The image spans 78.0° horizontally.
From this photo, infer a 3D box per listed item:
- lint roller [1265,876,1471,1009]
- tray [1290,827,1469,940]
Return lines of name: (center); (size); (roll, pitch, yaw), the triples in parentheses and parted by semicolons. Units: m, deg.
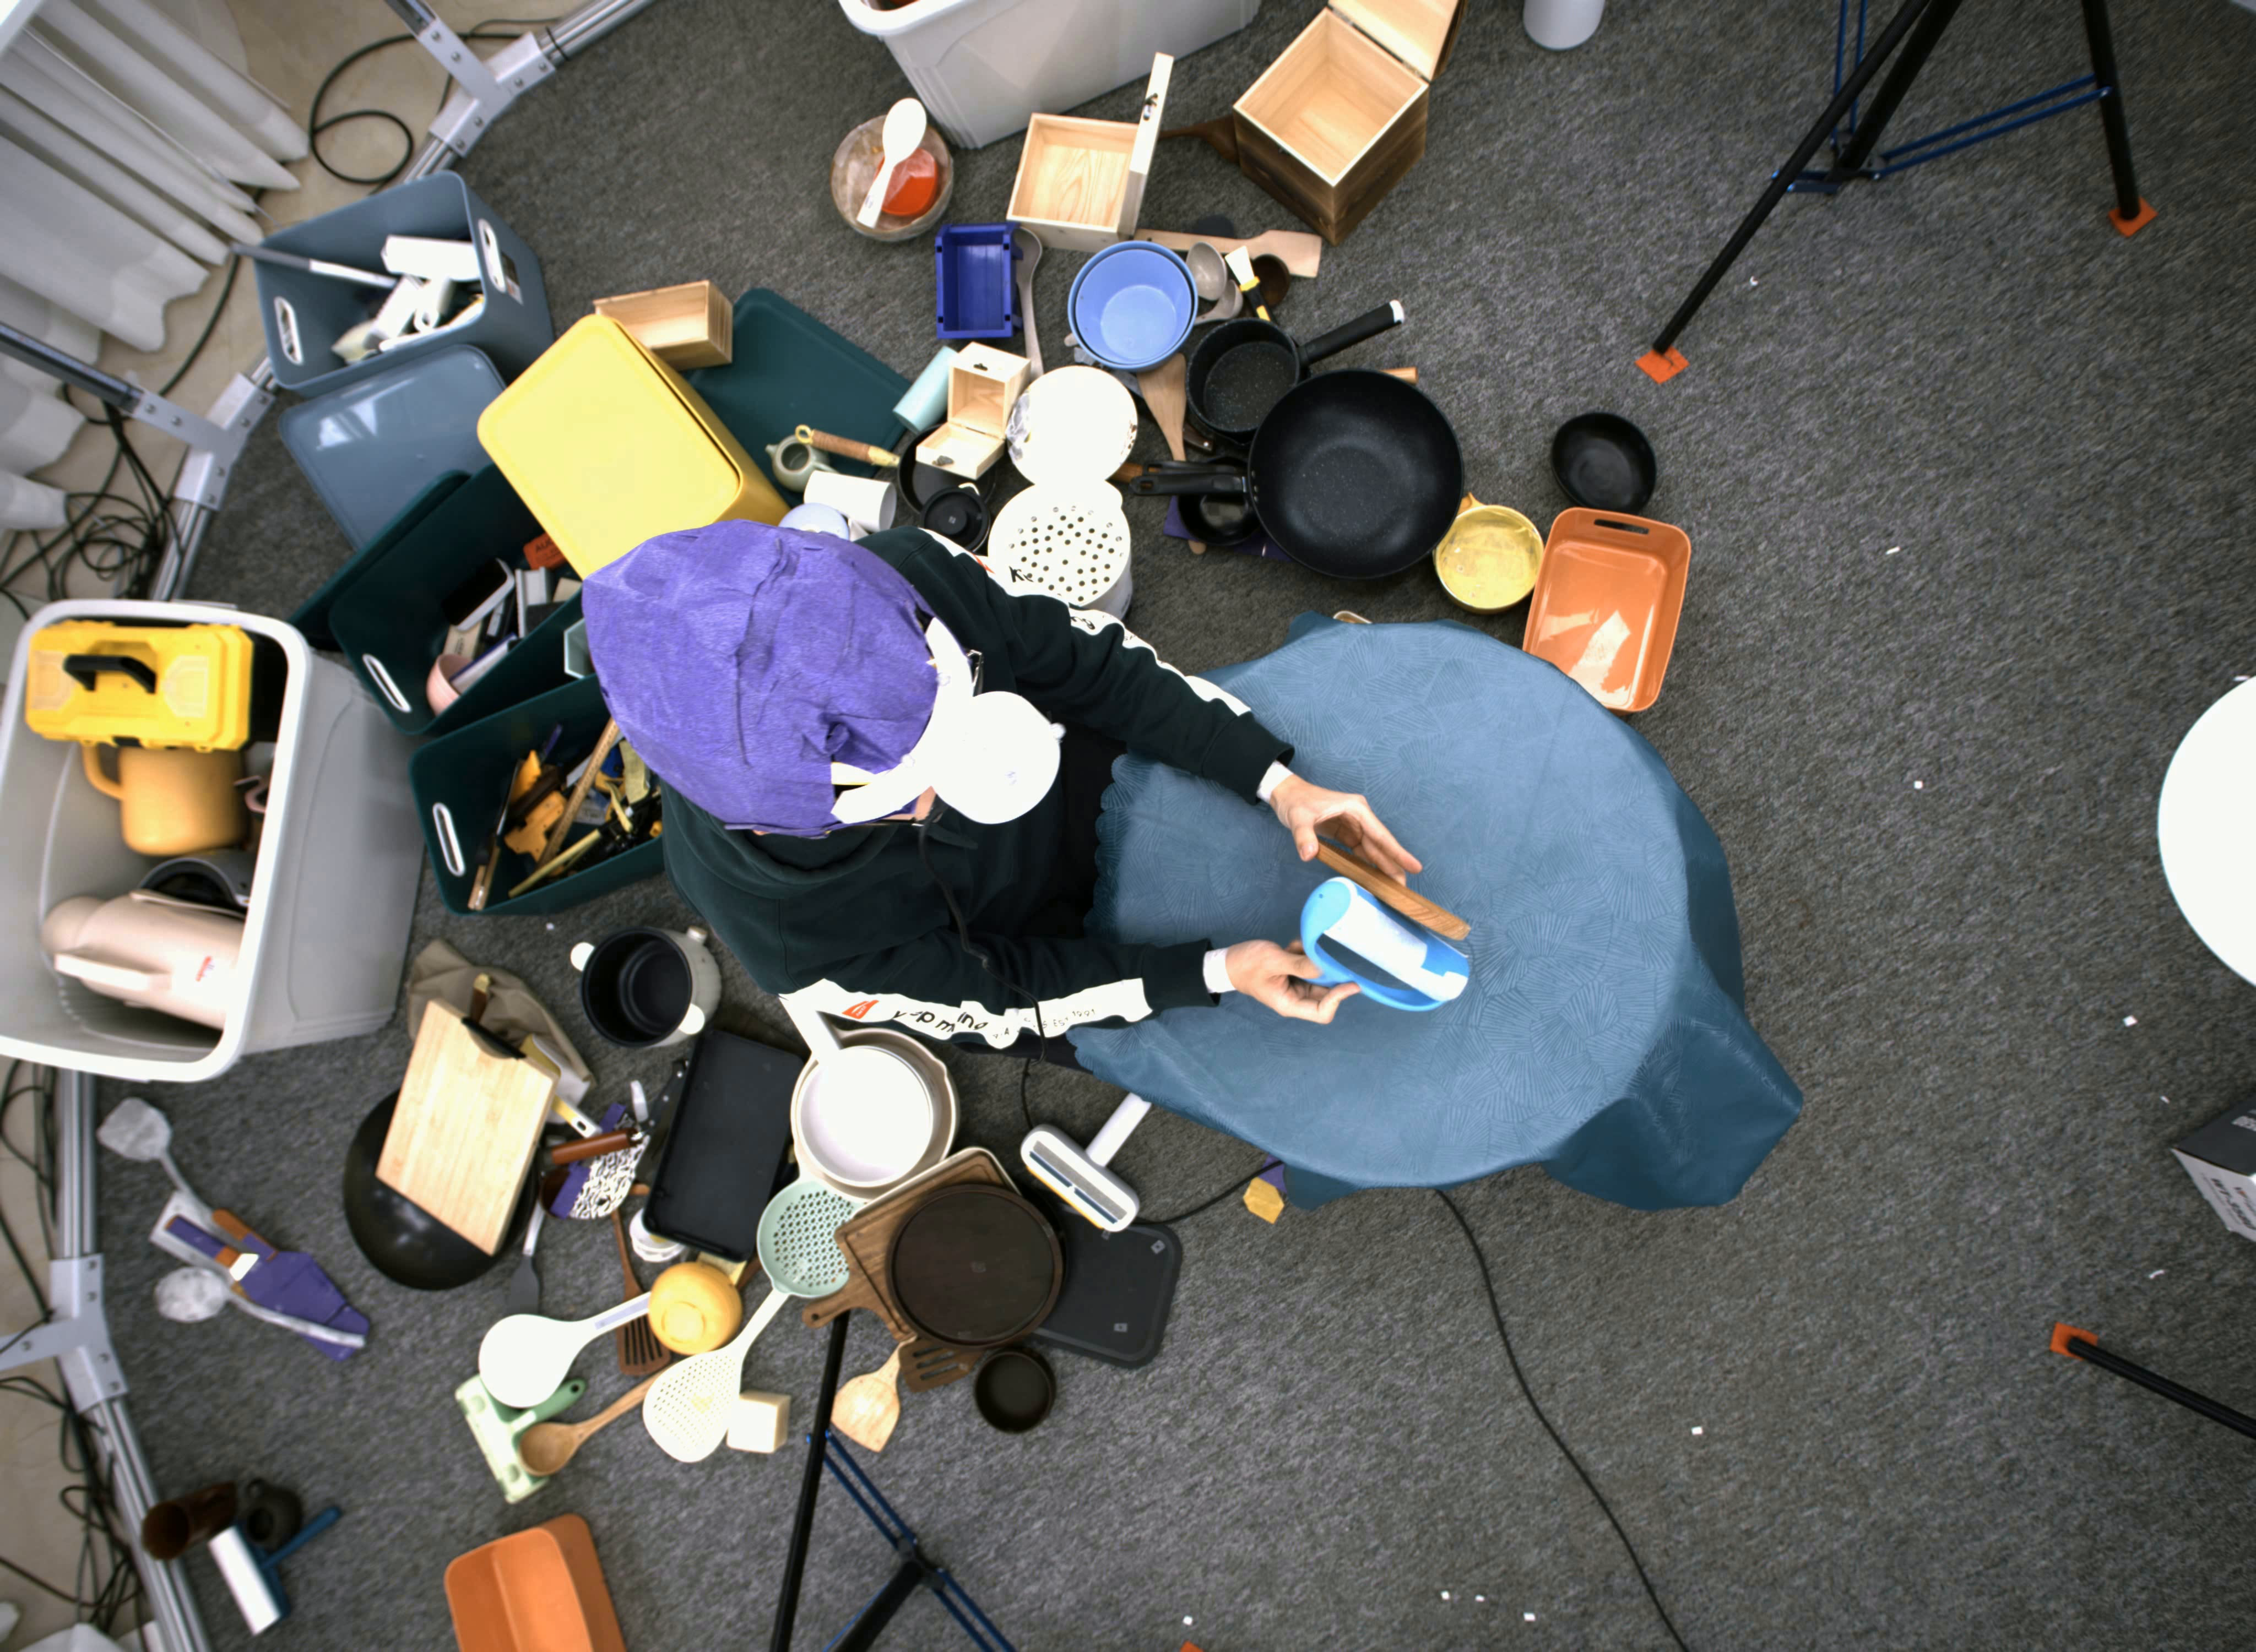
lint roller: (0.205, 0.123, 1.331); (0.183, 0.230, 0.066); (-21, 53, 43)
tray: (0.235, 0.052, 1.318); (0.102, 0.229, 0.020); (24, 96, -33)
